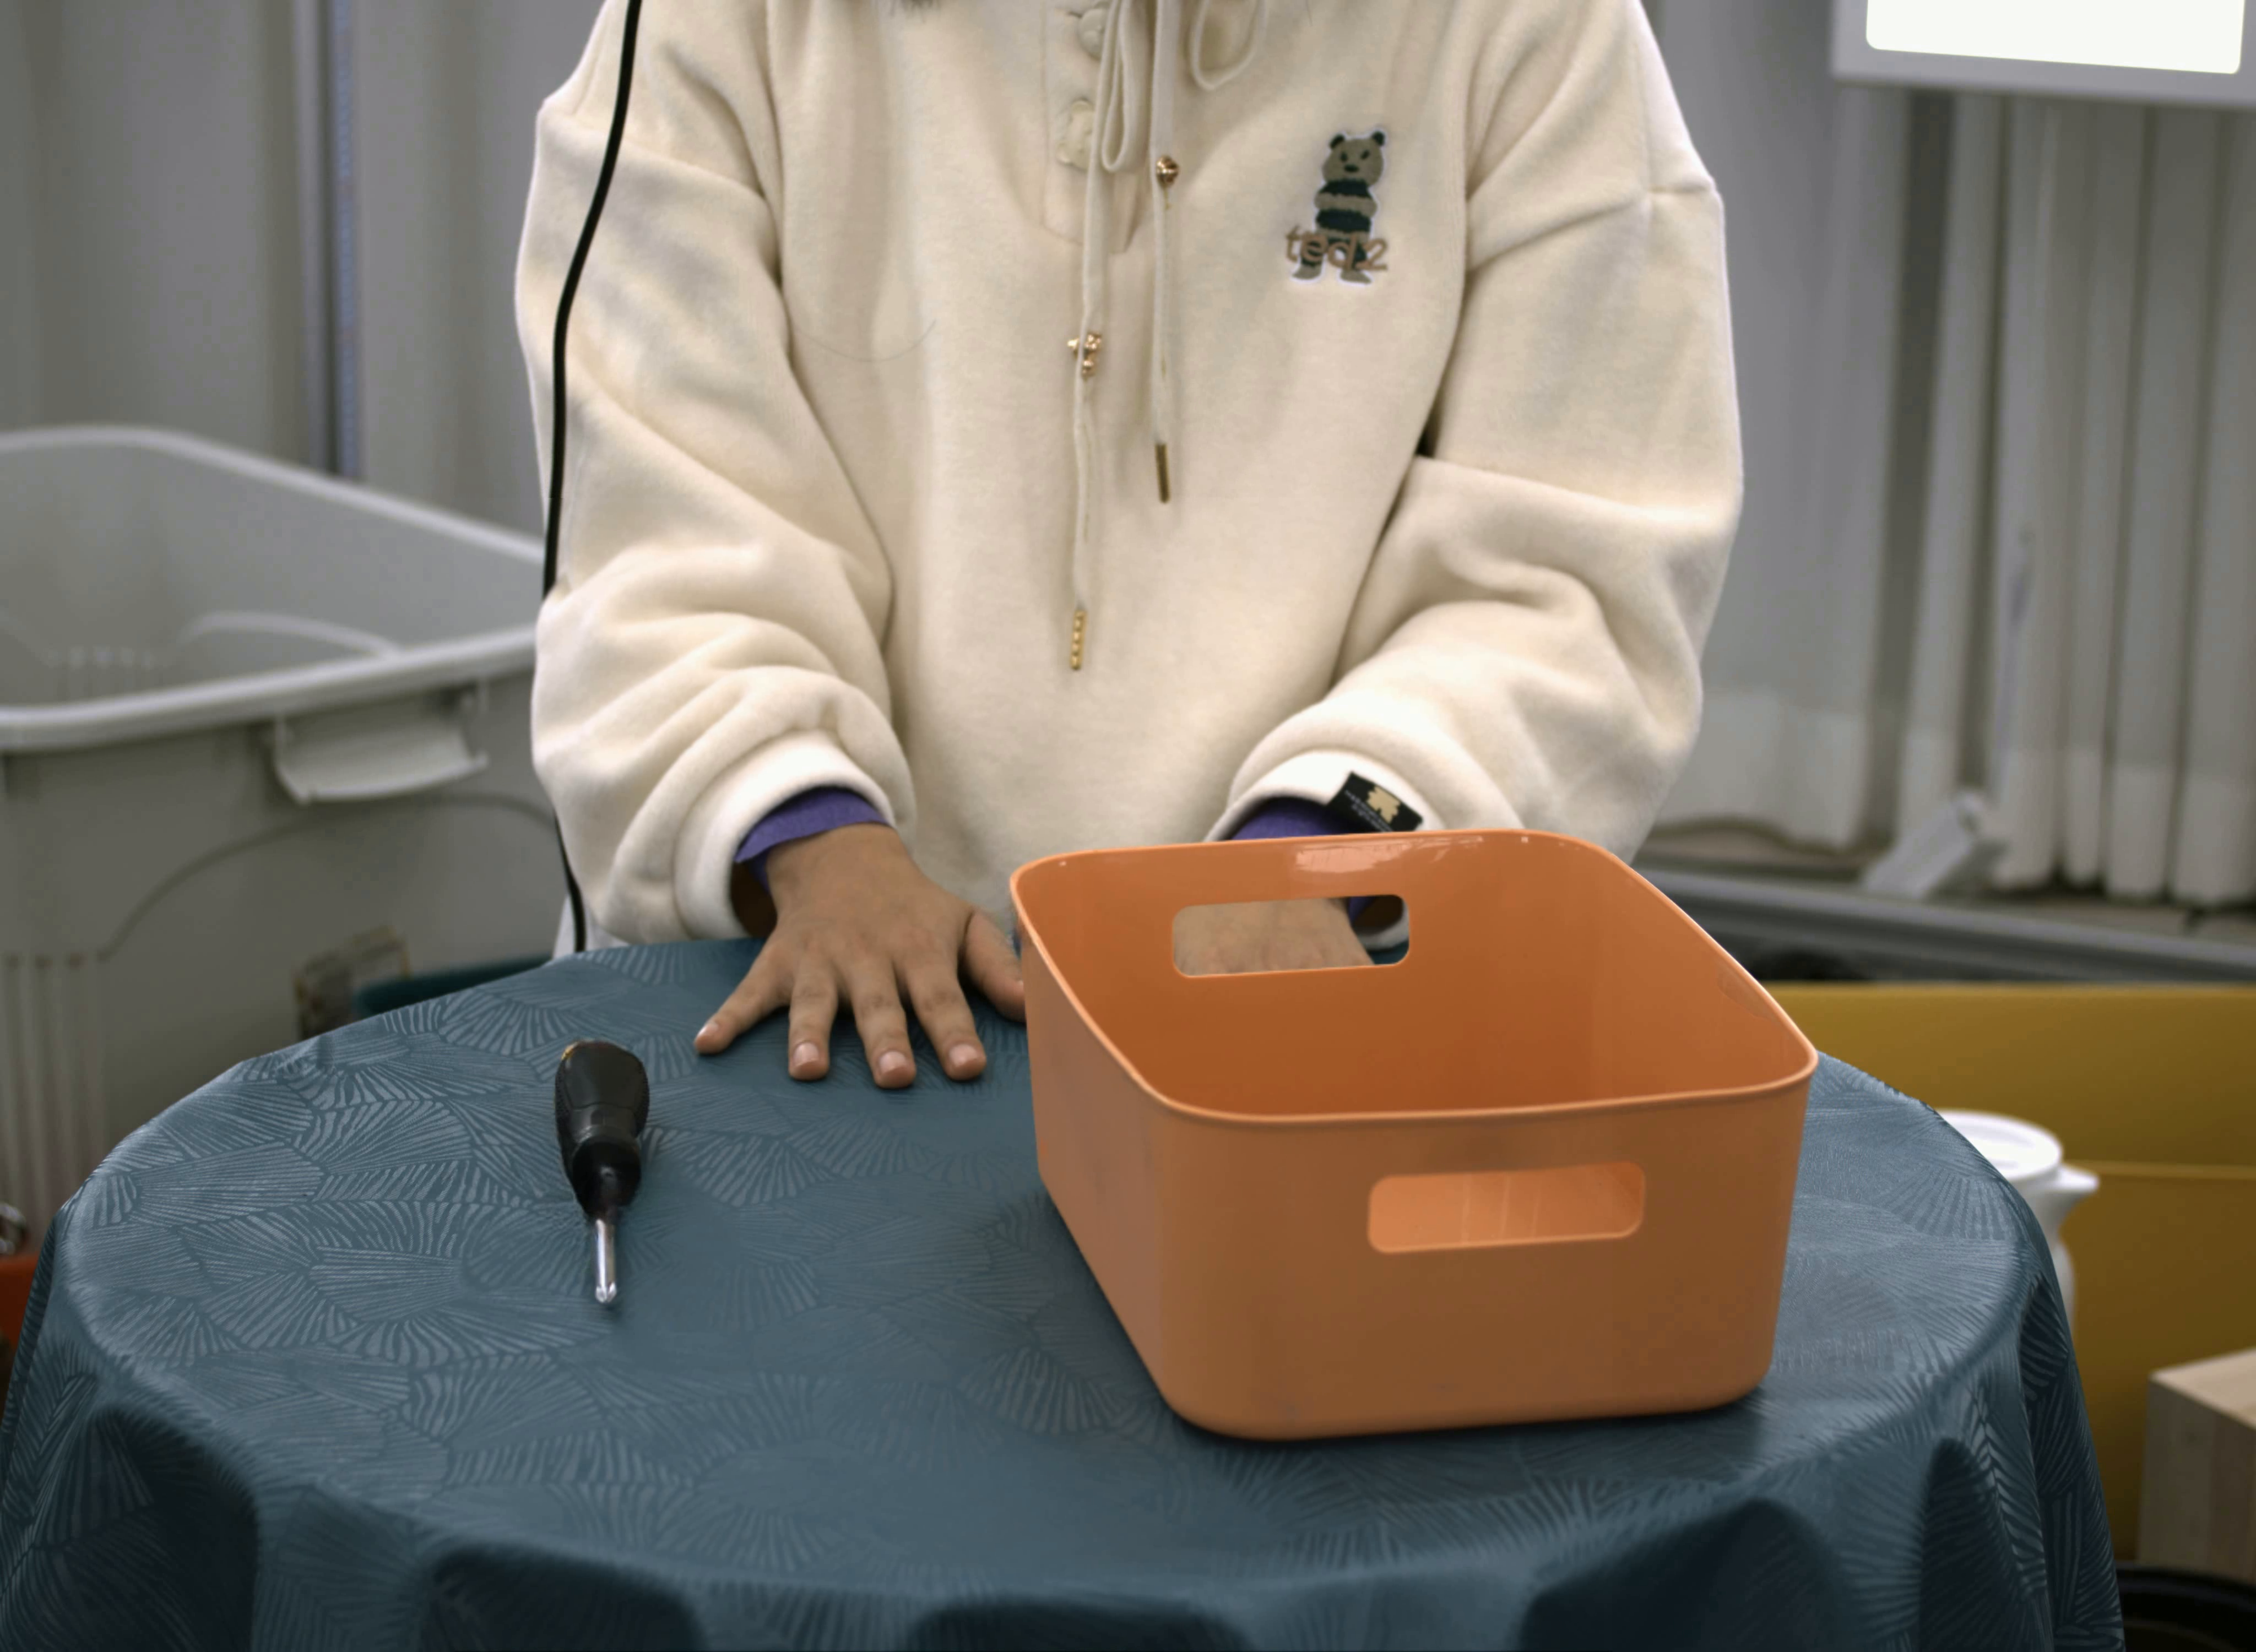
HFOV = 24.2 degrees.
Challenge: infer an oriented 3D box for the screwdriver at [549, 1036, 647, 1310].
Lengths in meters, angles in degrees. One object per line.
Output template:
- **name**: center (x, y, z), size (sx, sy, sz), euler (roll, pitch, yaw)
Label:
- **screwdriver**: center (-0.164, 0.107, 1.597), size (0.031, 0.032, 0.195), euler (0, 19, -3)

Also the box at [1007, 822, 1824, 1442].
- **box**: center (0.078, 0.085, 1.526), size (0.199, 0.103, 0.270), euler (-4, 16, -11)
